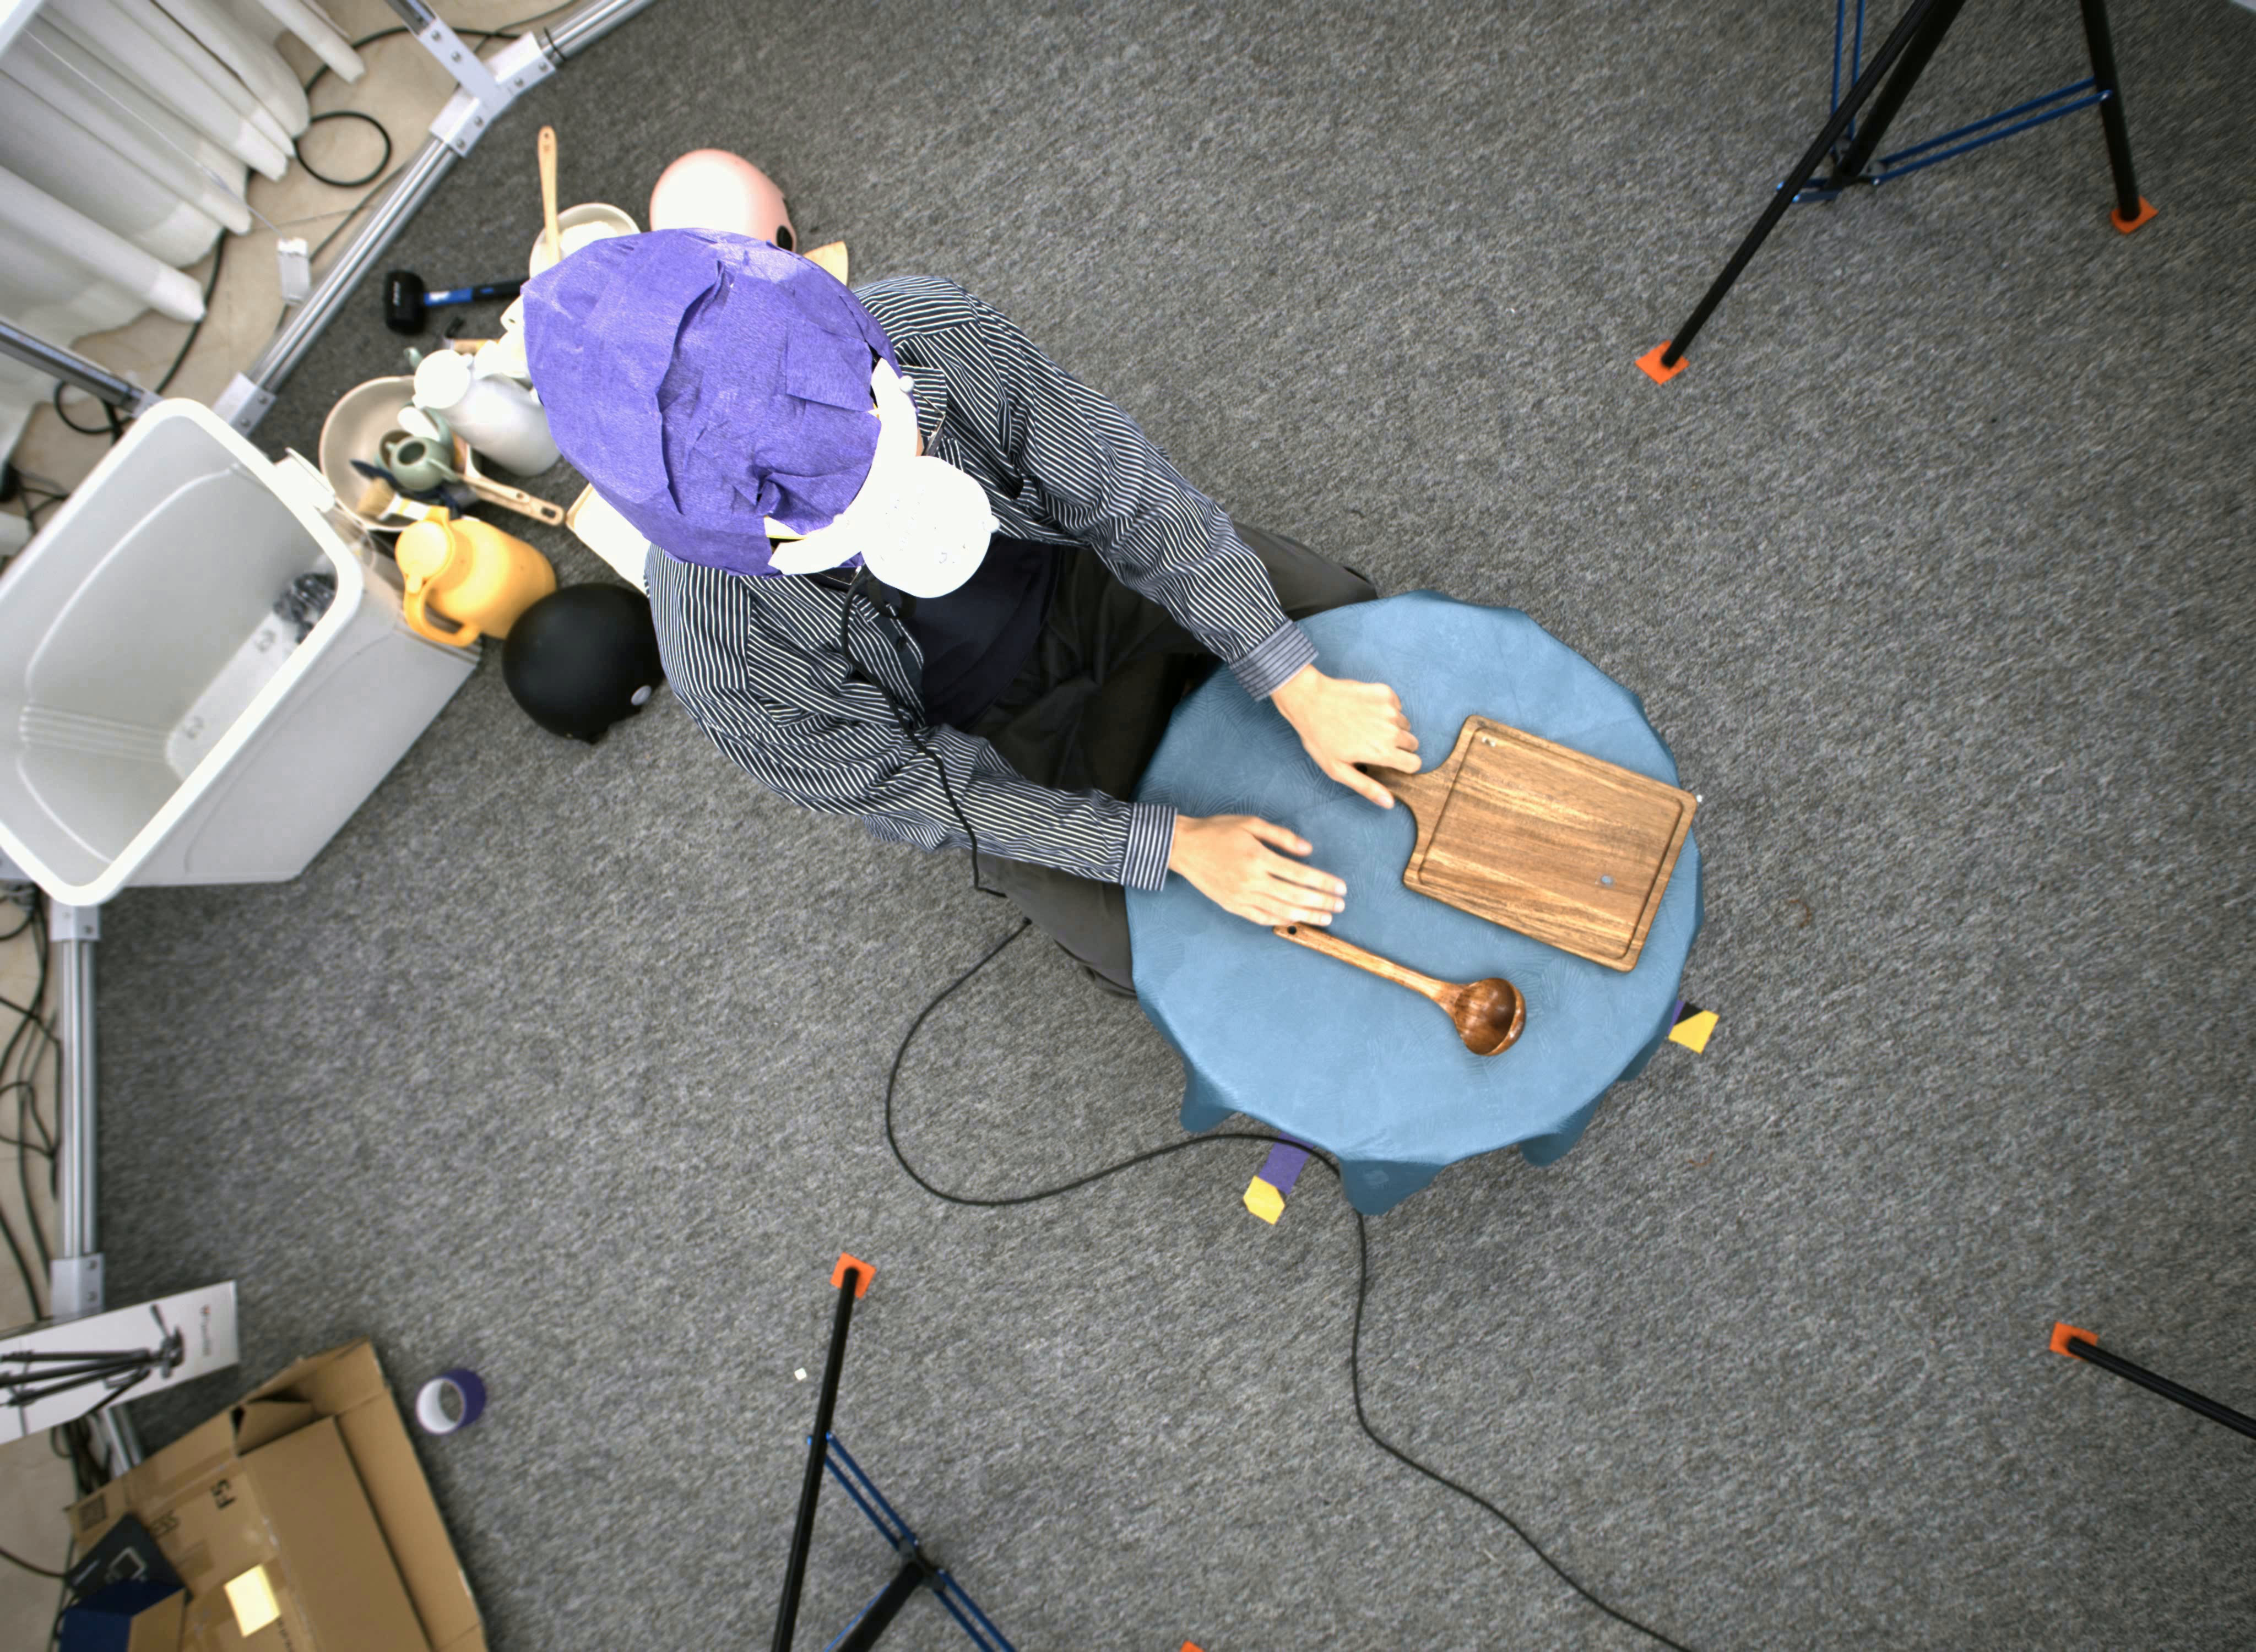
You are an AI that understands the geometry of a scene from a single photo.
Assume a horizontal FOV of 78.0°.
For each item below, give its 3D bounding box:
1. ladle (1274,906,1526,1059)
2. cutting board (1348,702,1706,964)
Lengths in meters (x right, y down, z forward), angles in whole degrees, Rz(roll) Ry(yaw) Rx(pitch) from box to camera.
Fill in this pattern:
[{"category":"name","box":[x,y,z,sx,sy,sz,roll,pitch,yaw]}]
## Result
[{"category":"ladle","box":[0.271,0.150,1.406,0.274,0.076,0.082,25,91,10]},{"category":"cutting board","box":[0.394,-0.016,1.419,0.352,0.023,0.201,23,92,10]}]
